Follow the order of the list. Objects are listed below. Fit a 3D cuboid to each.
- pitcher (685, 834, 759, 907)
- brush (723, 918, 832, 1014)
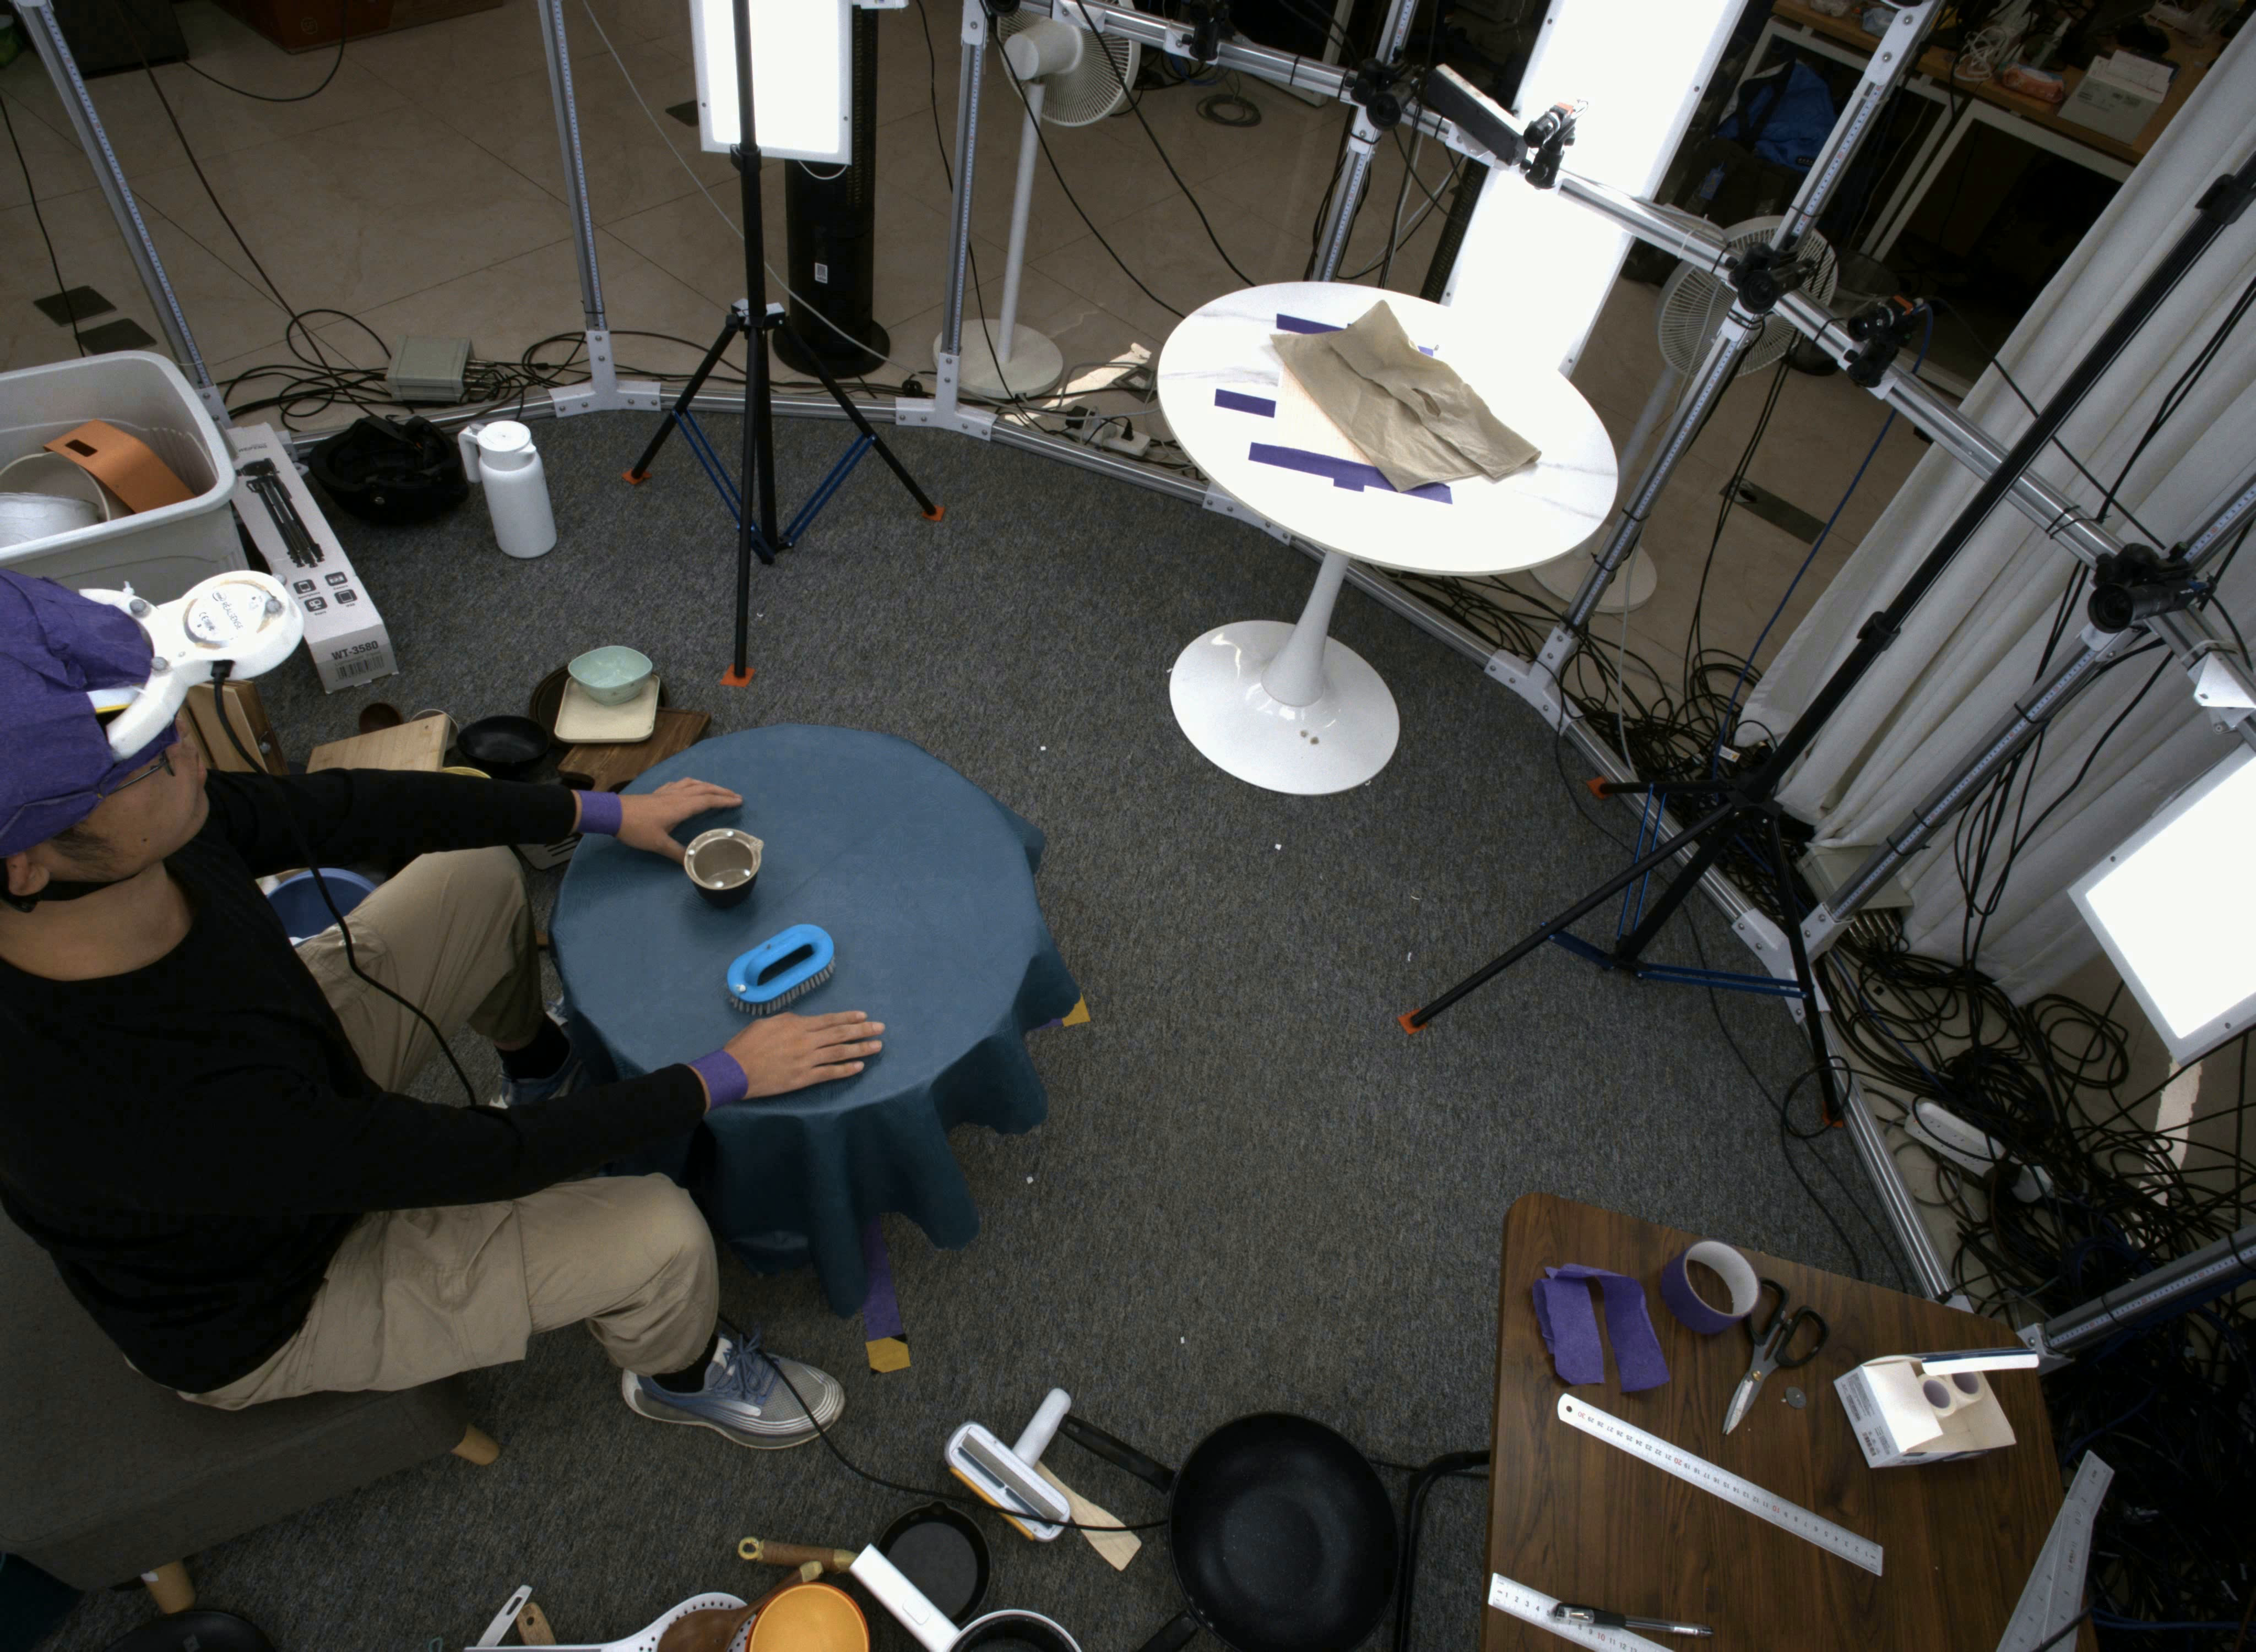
[{"bbox_3d":[-0.506,0.056,1.617,0.096,0.073,0.081,-21,59,-28],"label":"pitcher"},{"bbox_3d":[-0.422,0.161,1.566,0.142,0.065,0.083,-32,70,-30],"label":"brush"}]
